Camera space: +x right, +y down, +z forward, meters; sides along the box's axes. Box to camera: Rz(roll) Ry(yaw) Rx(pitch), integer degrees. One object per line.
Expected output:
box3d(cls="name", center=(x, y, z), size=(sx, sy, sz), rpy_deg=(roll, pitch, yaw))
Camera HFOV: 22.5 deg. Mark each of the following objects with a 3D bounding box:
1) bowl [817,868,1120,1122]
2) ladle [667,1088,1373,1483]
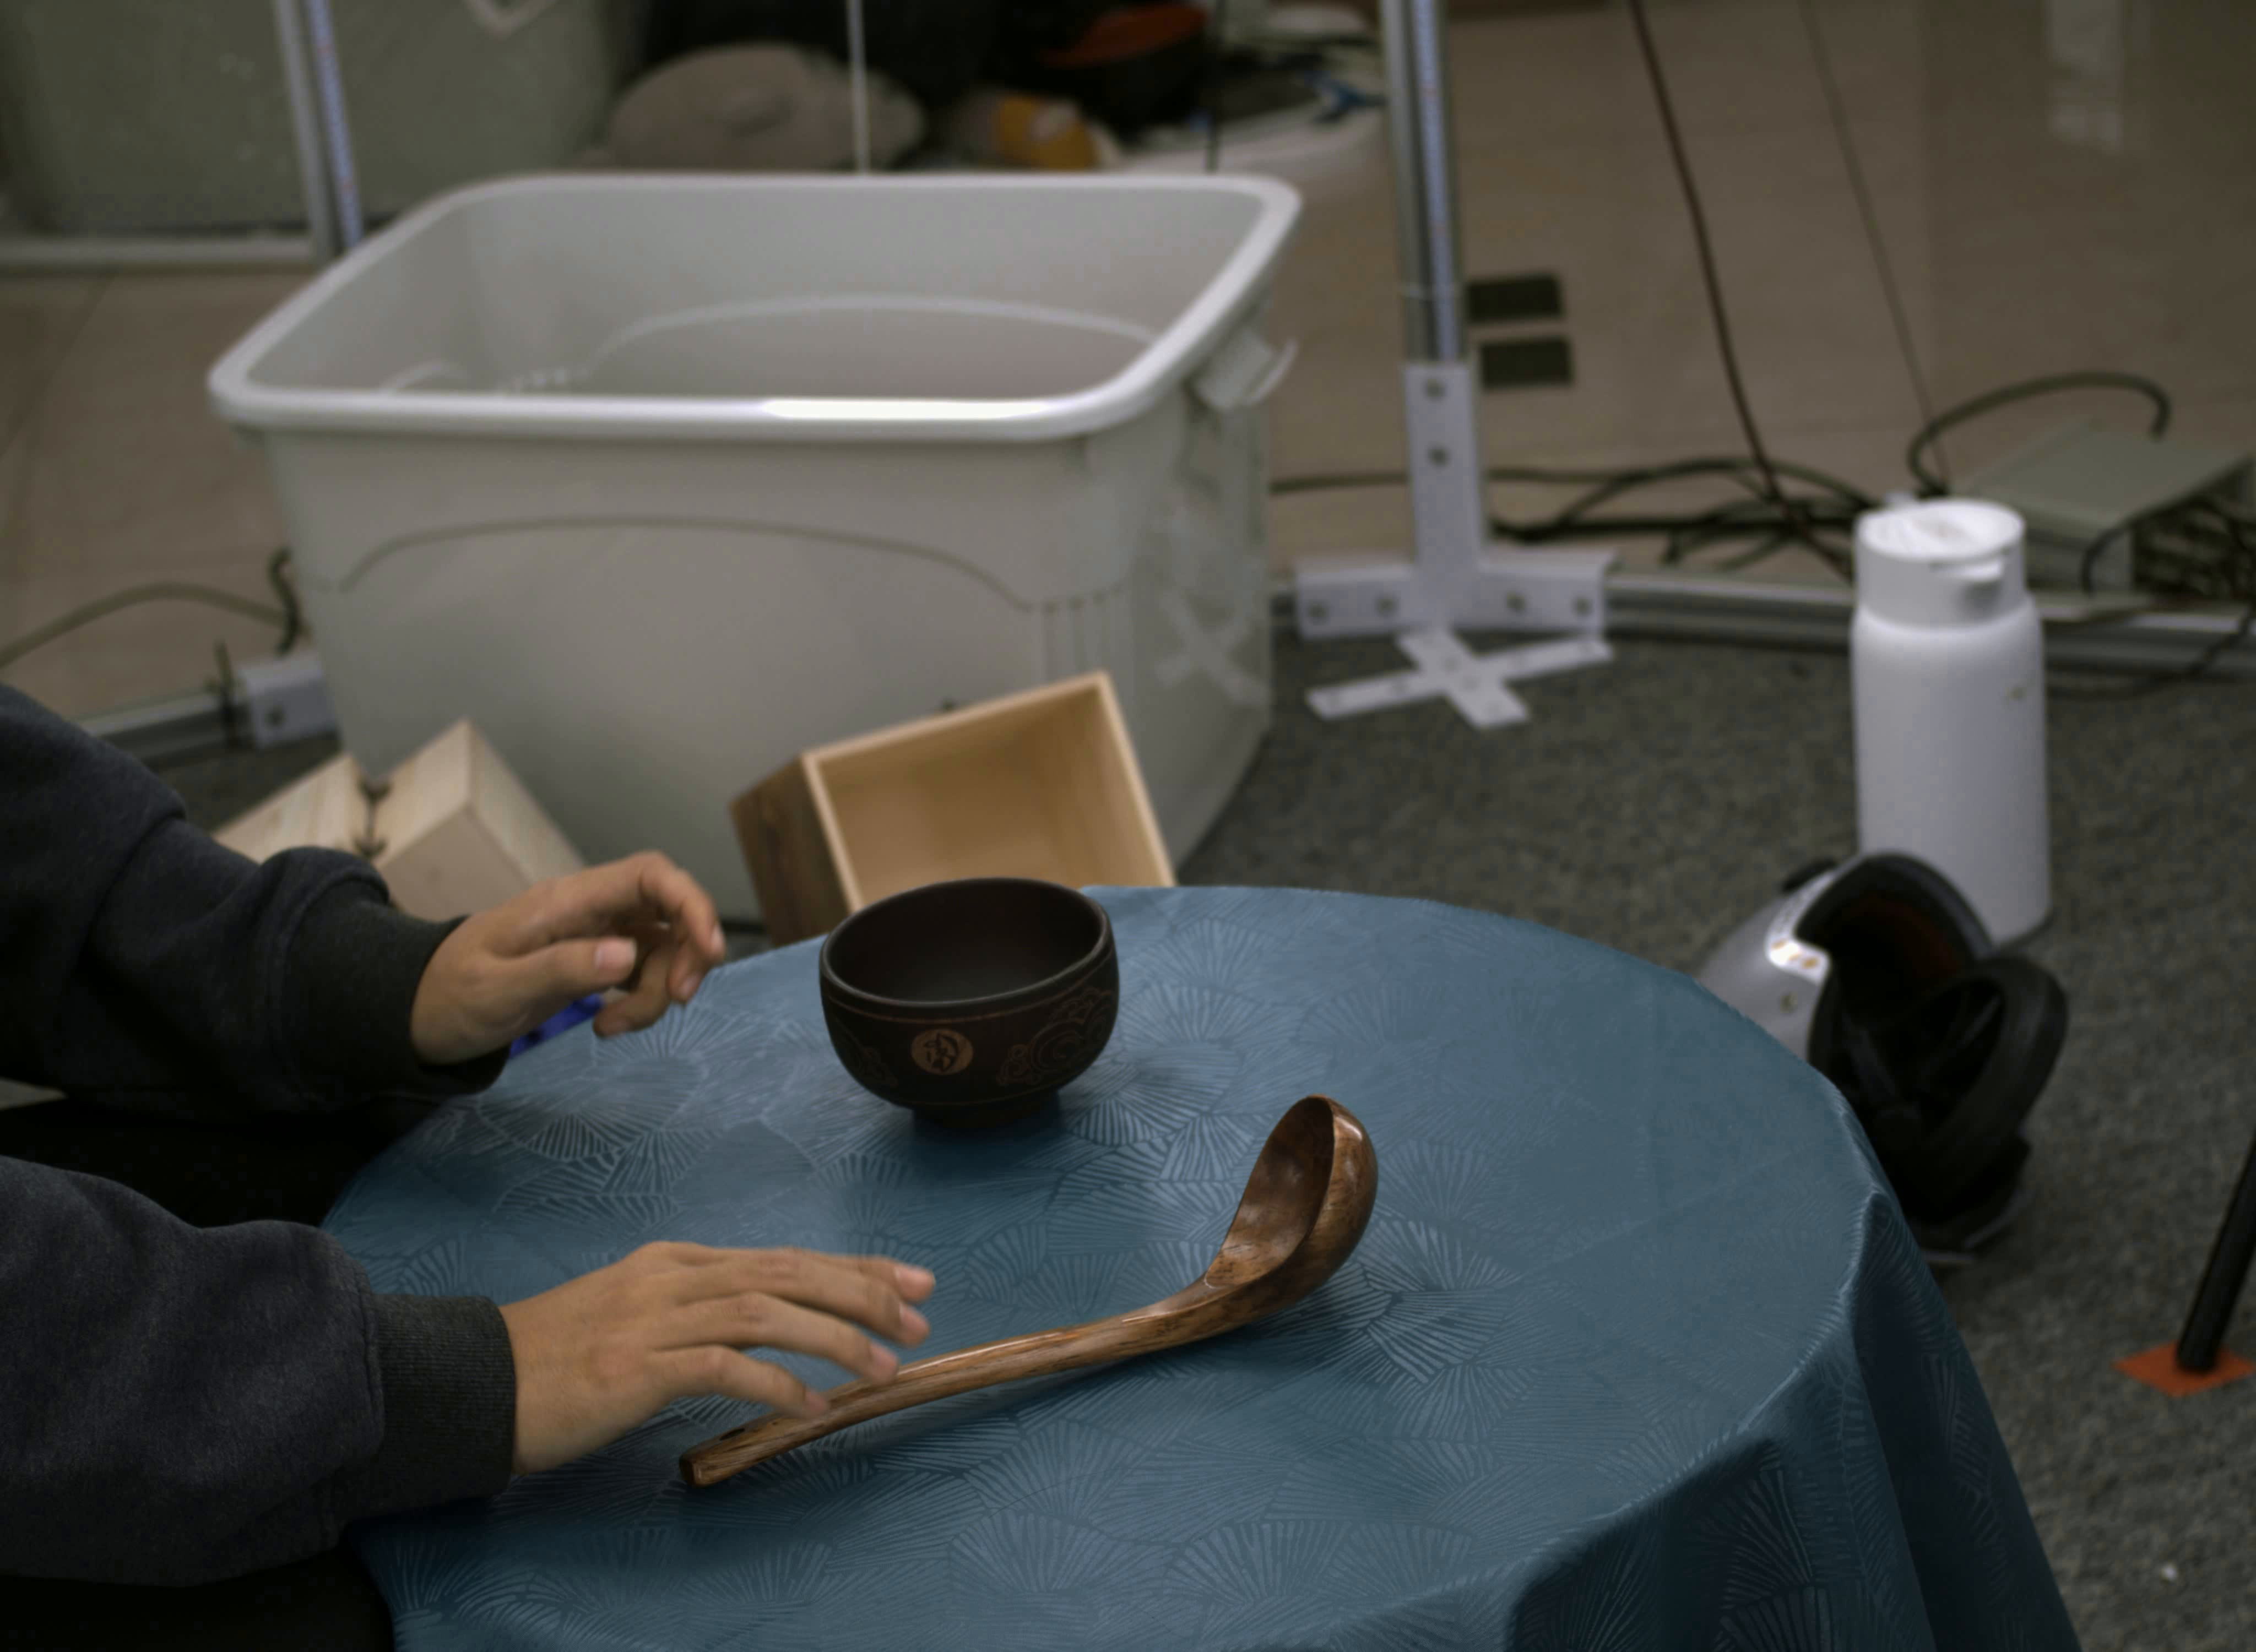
box3d(cls="bowl", center=(-0.060, 0.072, 2.215), size=(0.118, 0.071, 0.116), rpy_deg=(-6, 25, 3))
box3d(cls="ladle", center=(-0.039, 0.161, 2.016), size=(0.273, 0.077, 0.082), rpy_deg=(-14, 4, -15))
